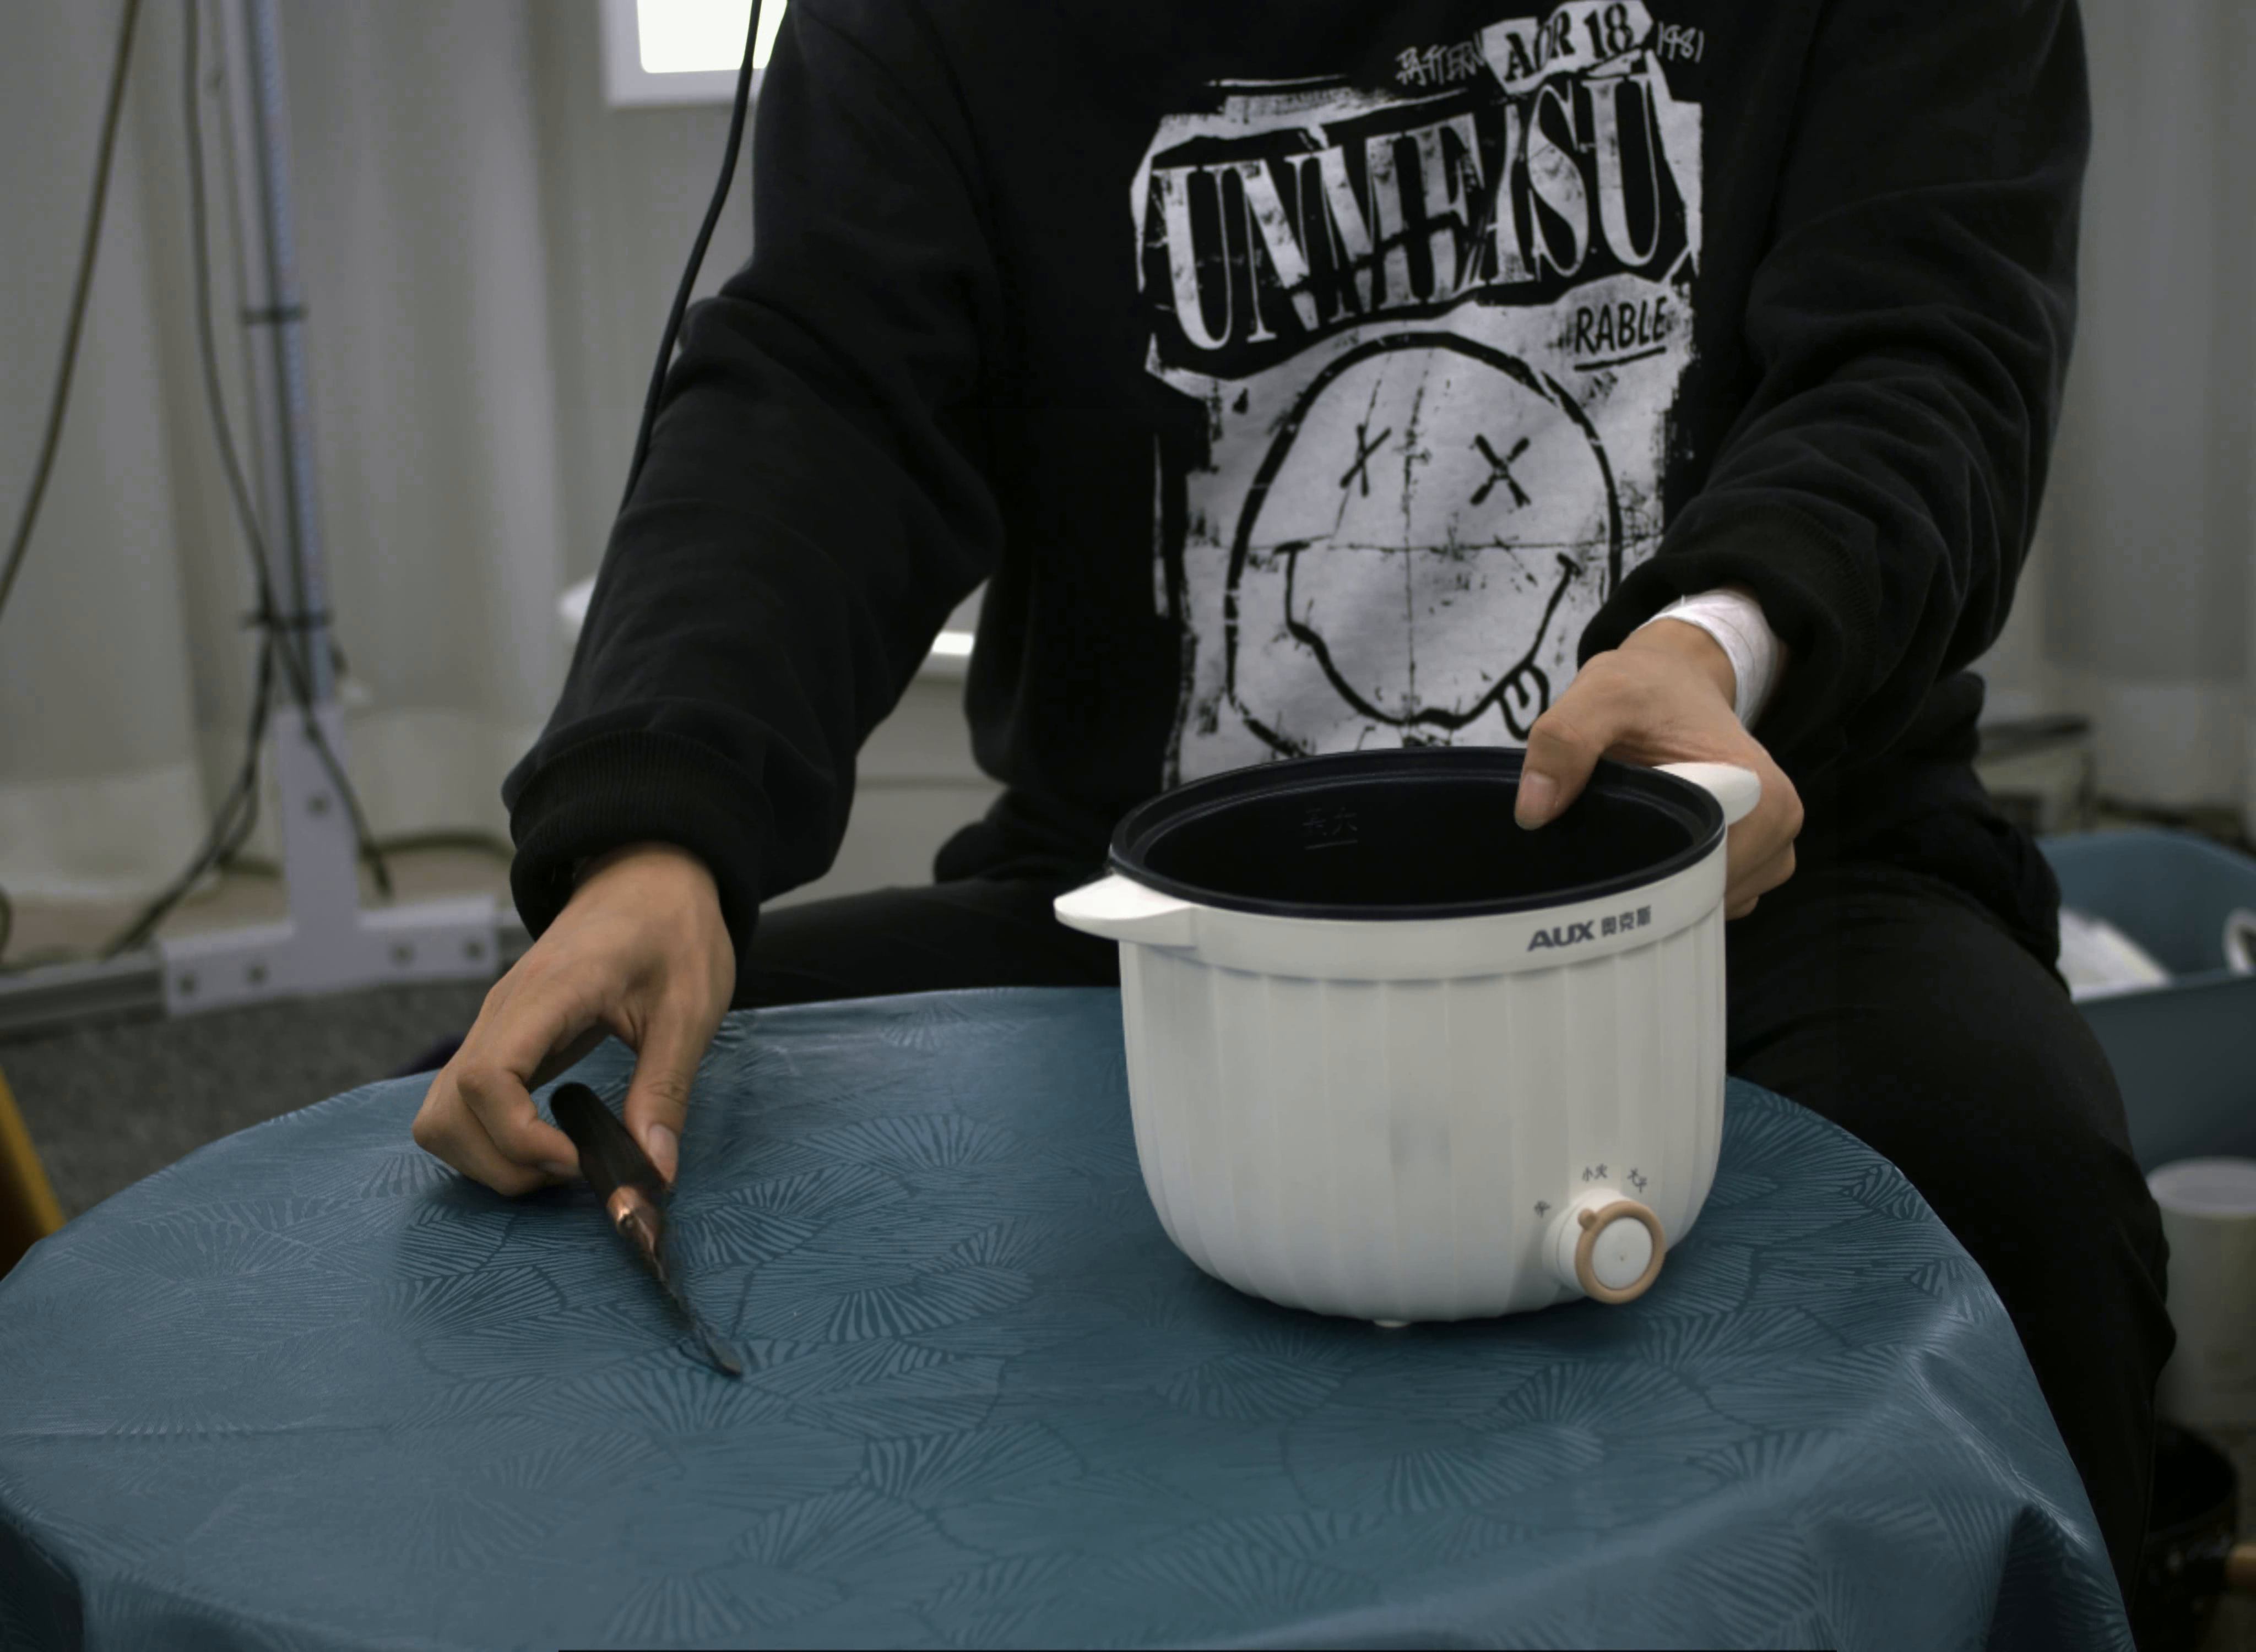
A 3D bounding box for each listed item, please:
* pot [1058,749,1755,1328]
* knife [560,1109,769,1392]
[{"bbox_3d":[0.092,0.064,1.619,0.239,0.142,0.191,-12,14,-29],"label":"pot"},{"bbox_3d":[-0.143,0.128,1.668,0.026,0.017,0.227,29,5,-23],"label":"knife"}]
